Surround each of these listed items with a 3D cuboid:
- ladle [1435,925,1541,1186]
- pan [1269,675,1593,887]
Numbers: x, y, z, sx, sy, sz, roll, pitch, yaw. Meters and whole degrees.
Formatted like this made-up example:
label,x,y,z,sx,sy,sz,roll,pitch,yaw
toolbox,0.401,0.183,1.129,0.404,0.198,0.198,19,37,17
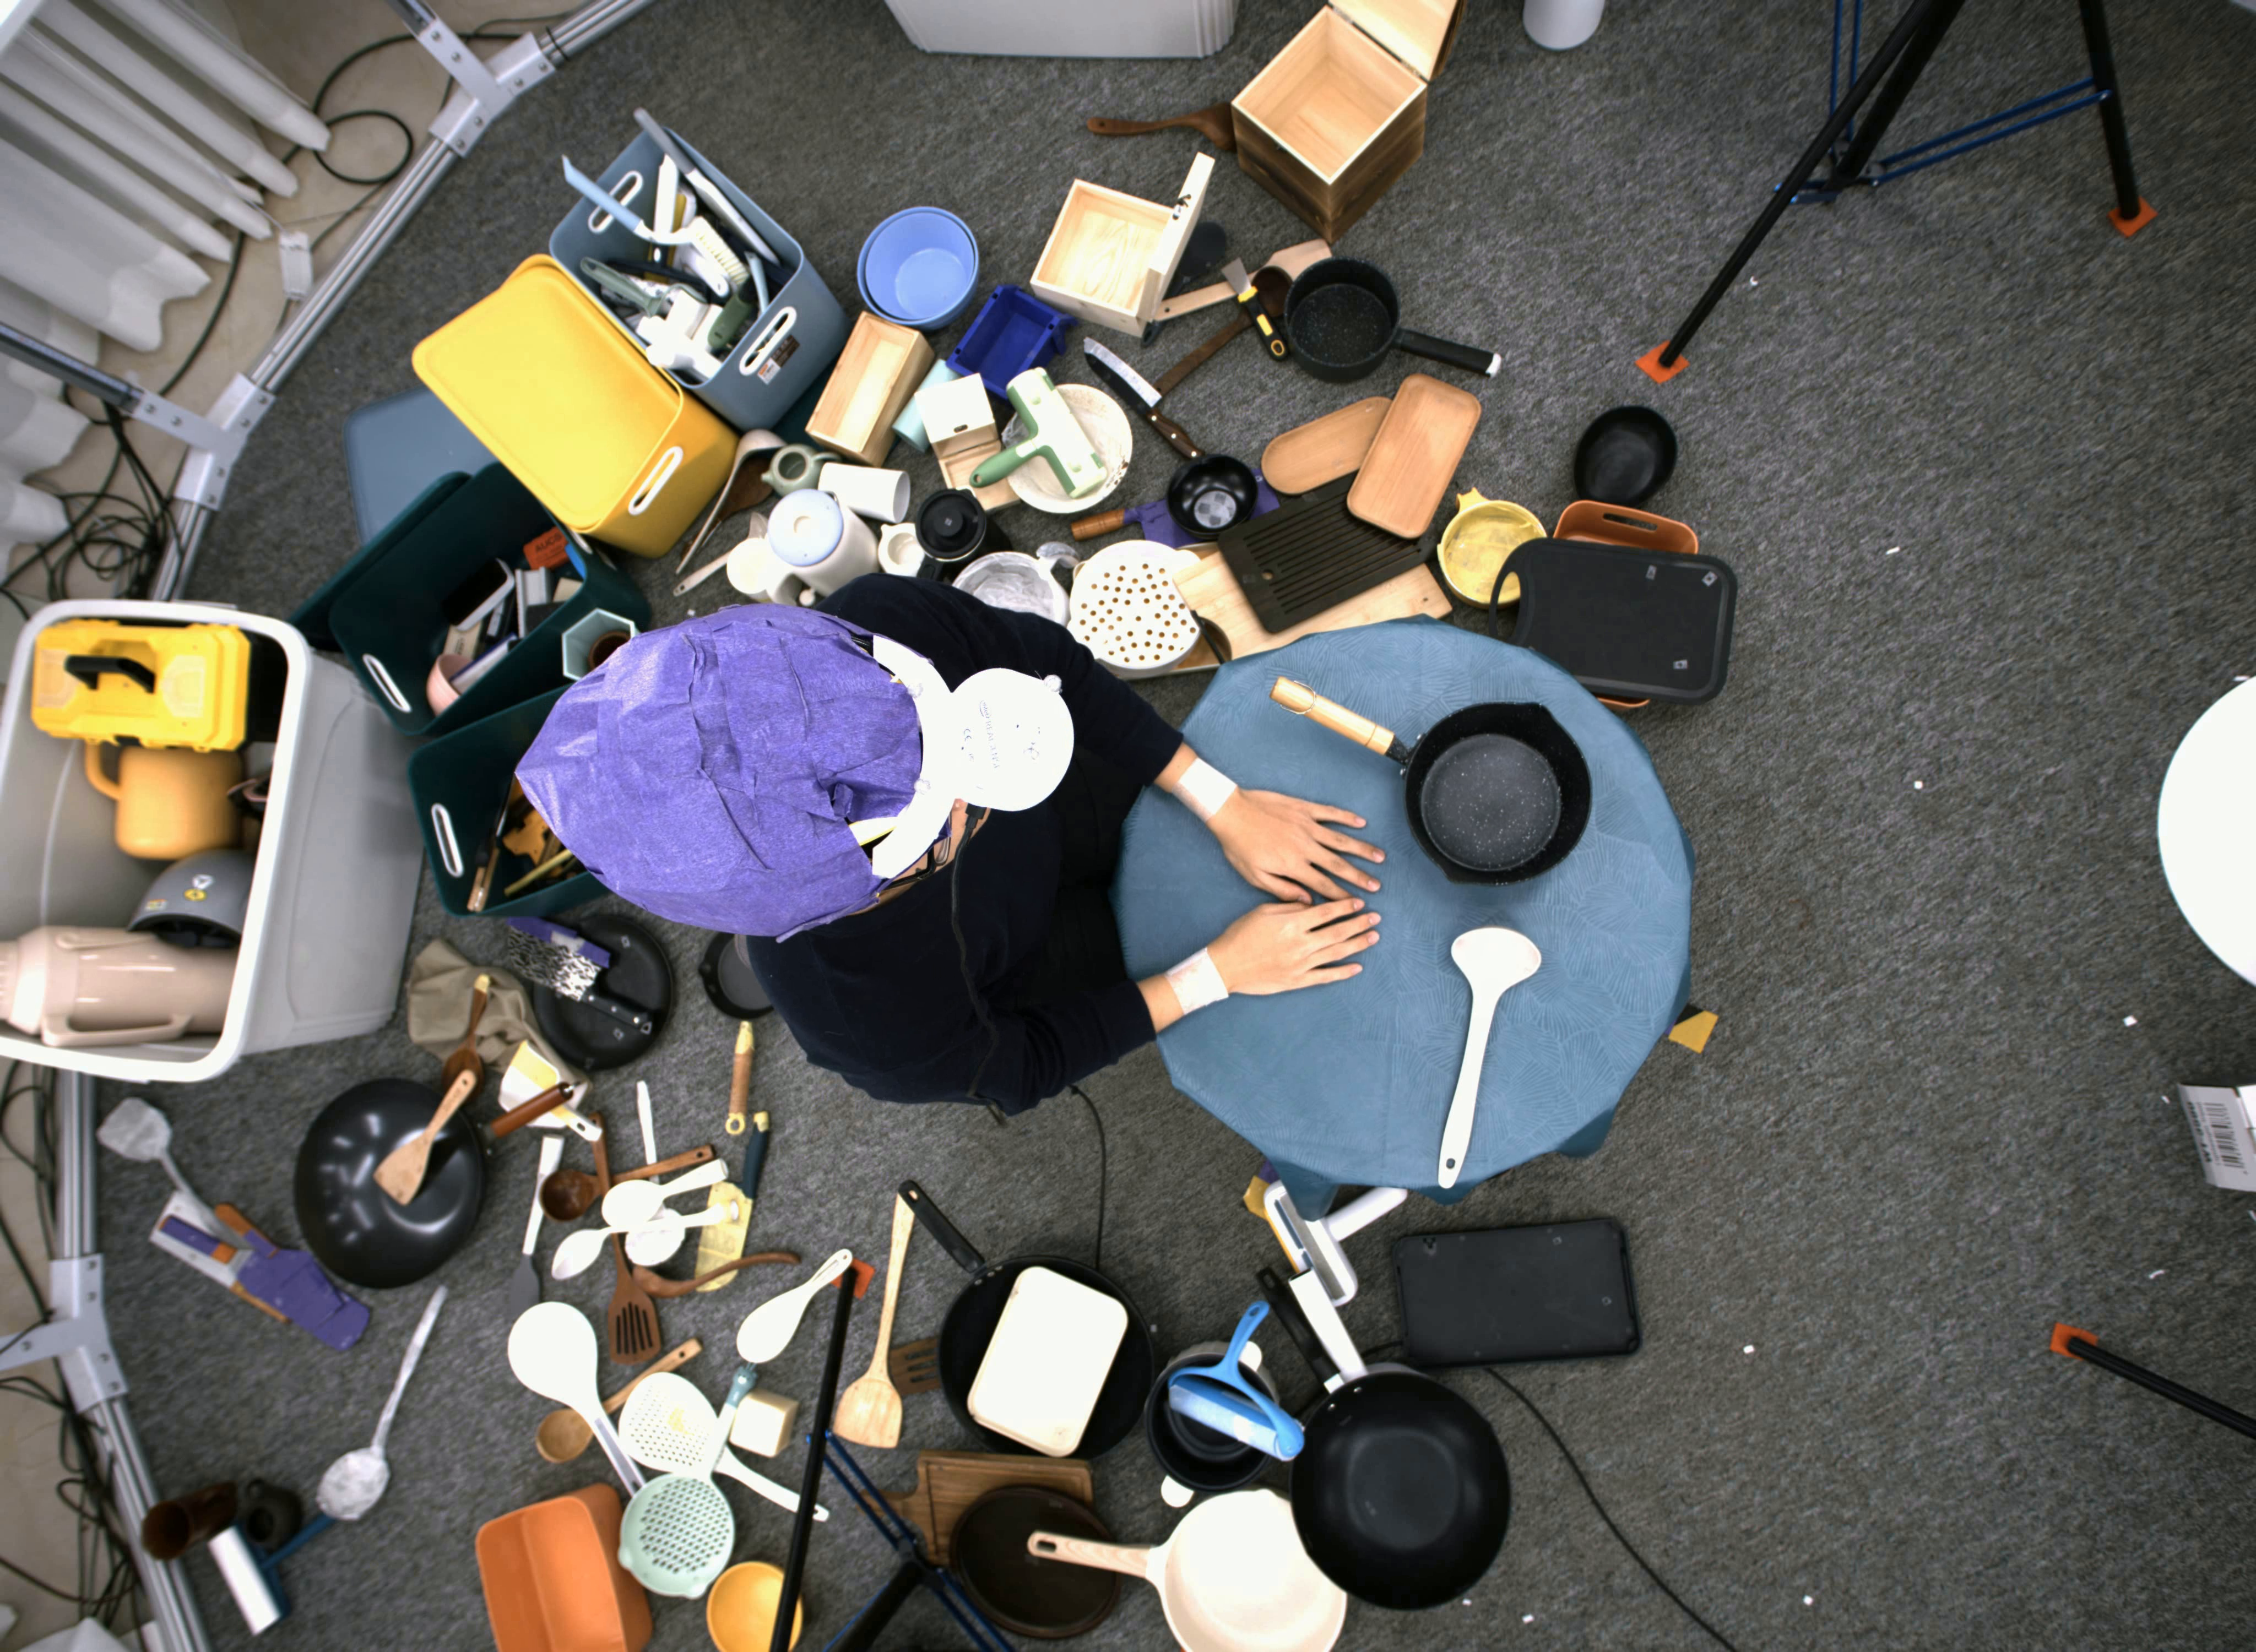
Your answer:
label,x,y,z,sx,sy,sz,roll,pitch,yaw
ladle,0.352,0.234,1.402,0.089,0.069,0.274,12,89,5
pan,0.301,-0.065,1.407,0.342,0.108,0.208,25,92,10
